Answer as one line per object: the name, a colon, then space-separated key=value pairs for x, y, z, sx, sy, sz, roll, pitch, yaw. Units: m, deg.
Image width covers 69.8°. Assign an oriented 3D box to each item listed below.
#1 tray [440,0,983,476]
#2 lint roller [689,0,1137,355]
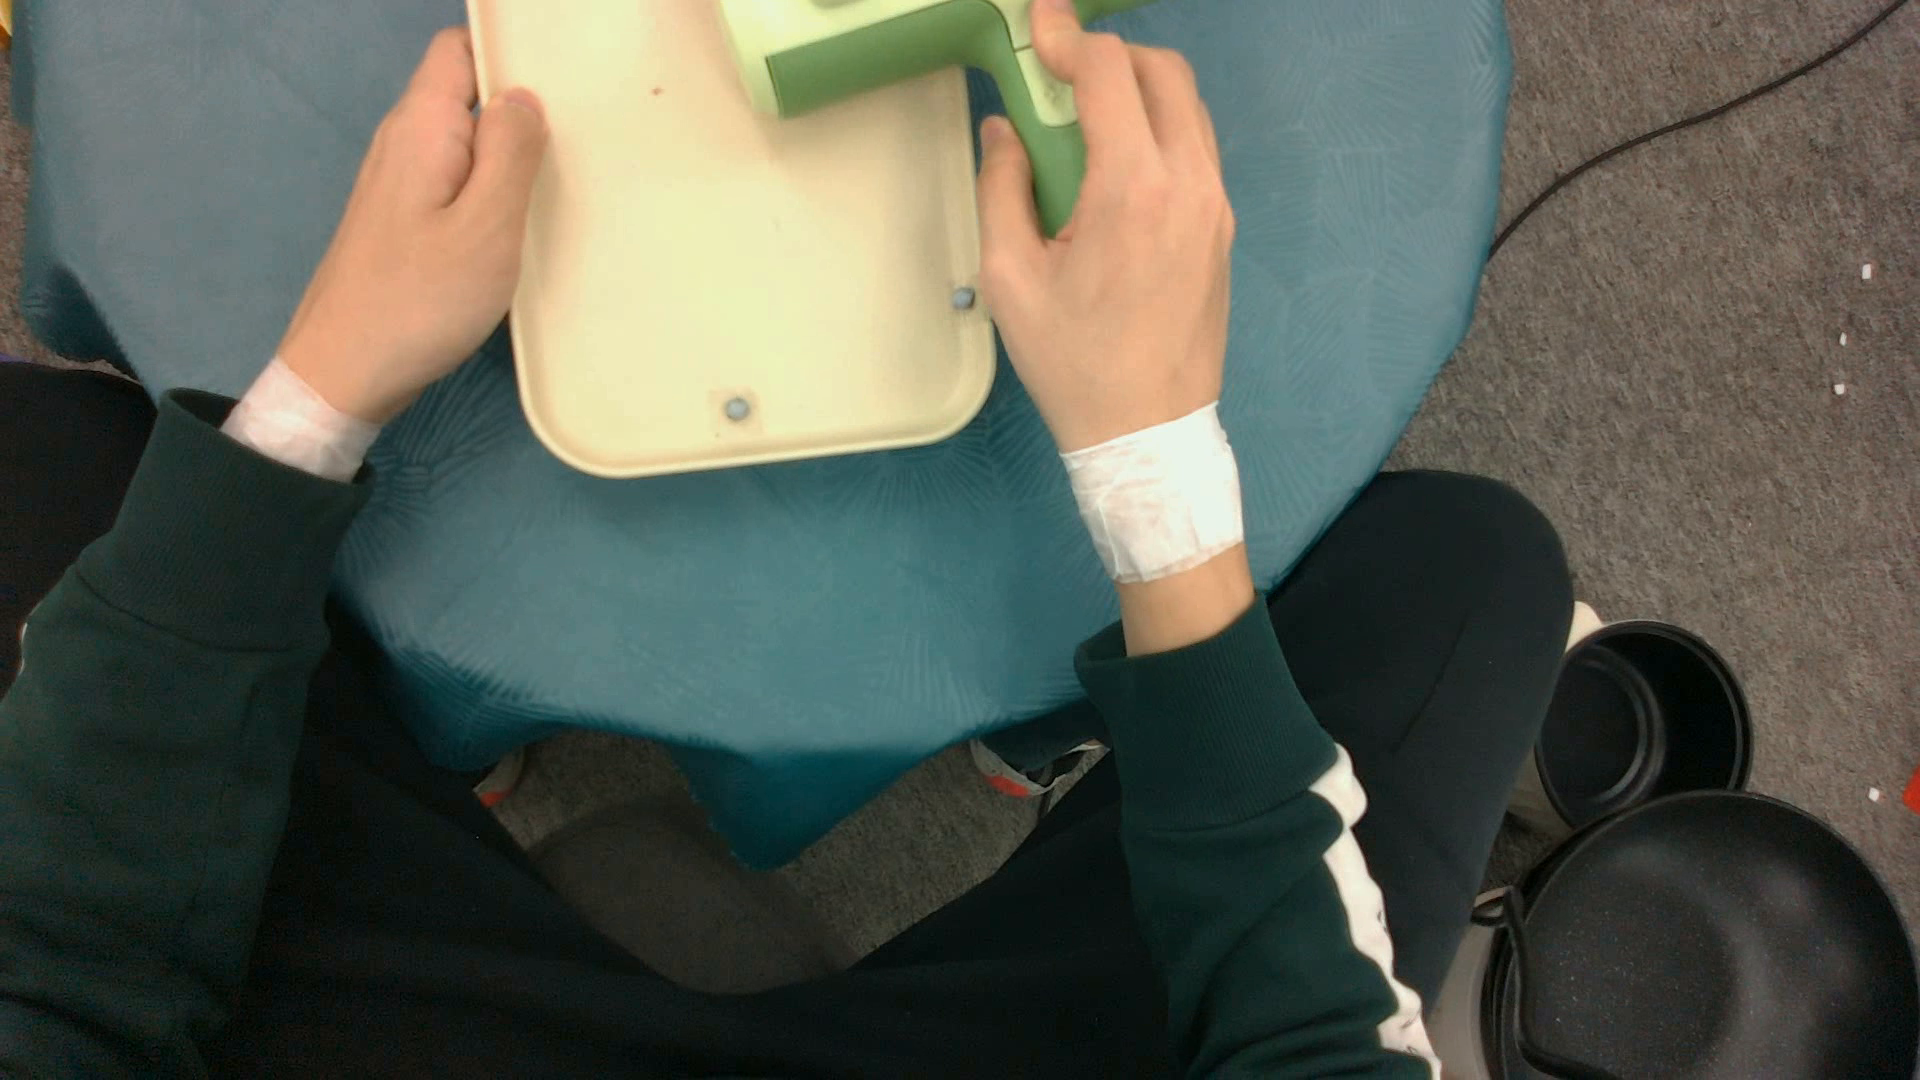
tray: x=-0.089 y=-0.149 z=0.494 sx=0.171 sy=0.017 sz=0.239 roll=-9 pitch=93 yaw=-11
lint roller: x=0.024 y=-0.155 z=0.461 sx=0.199 sy=0.082 sz=0.183 roll=-20 pitch=83 yaw=-6
